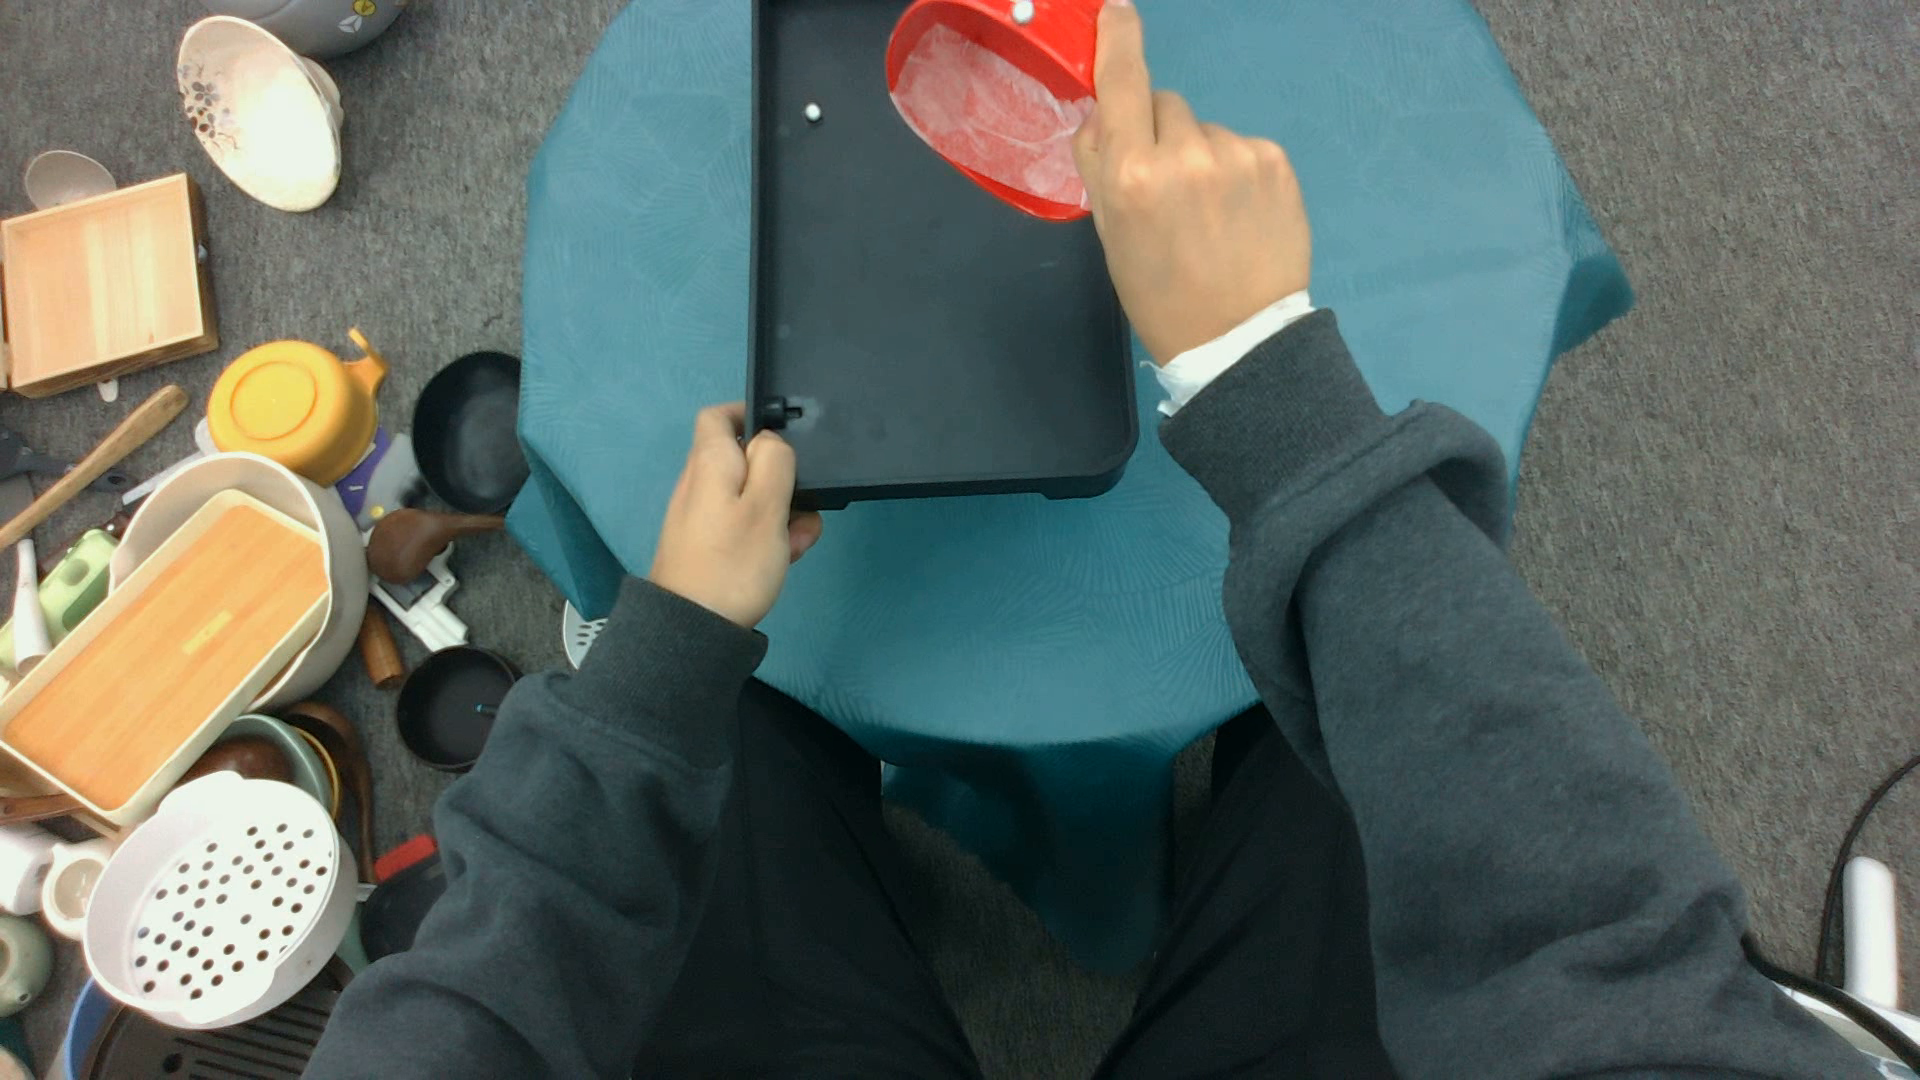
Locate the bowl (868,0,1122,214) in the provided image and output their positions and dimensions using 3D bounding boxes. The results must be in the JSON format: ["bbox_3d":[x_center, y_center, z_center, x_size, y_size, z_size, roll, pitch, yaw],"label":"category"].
[{"bbox_3d":[0.022,-0.196,0.575,0.119,0.118,0.051,29,70,12],"label":"bowl"}]

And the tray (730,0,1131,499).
[{"bbox_3d":[-0.021,-0.174,0.694,0.184,0.037,0.319,-3,68,0],"label":"tray"}]
